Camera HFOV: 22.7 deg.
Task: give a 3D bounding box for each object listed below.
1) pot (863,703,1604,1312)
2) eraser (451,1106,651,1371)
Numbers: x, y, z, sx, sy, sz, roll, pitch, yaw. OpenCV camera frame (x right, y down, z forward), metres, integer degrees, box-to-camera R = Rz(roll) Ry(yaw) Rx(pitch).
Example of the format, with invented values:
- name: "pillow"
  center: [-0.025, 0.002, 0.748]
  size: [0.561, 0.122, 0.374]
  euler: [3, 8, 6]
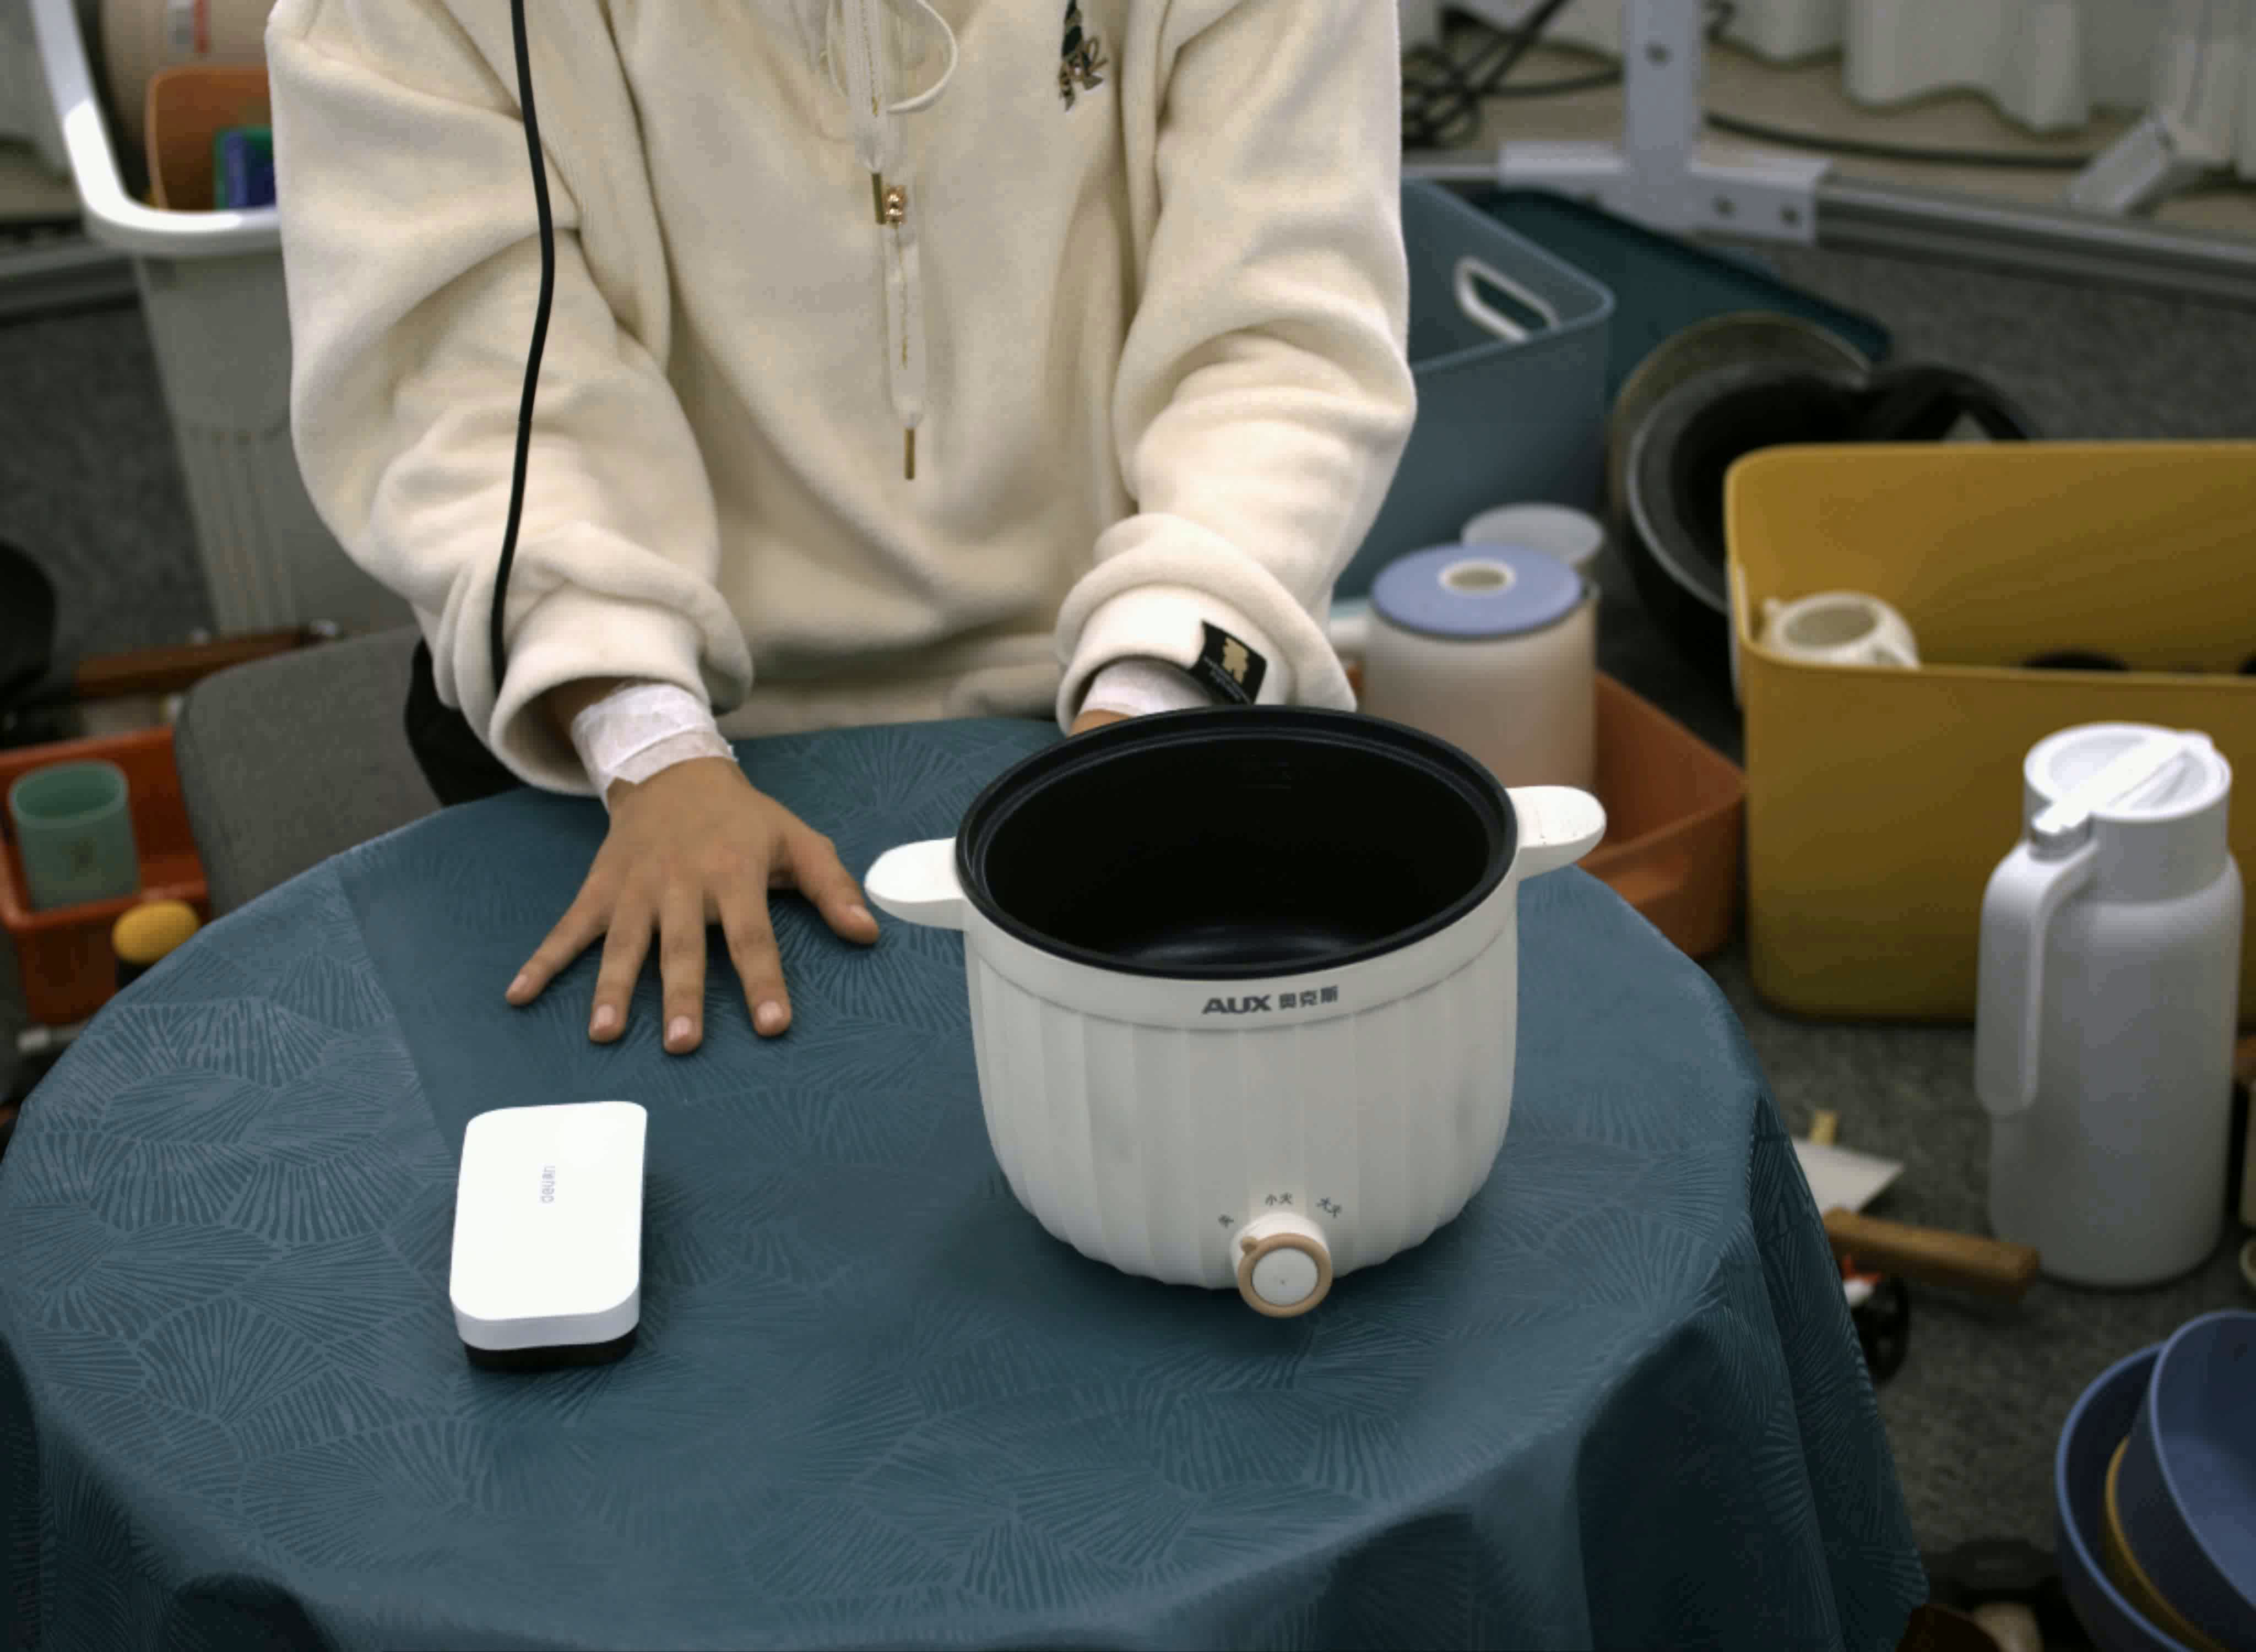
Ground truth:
- name: "pot"
  center: [0.039, 0.062, 1.823]
  size: [0.239, 0.141, 0.193]
  euler: [-6, 24, -4]
- name: "eraser"
  center: [-0.187, 0.131, 1.829]
  size: [0.063, 0.034, 0.133]
  euler: [-1, 28, -3]
